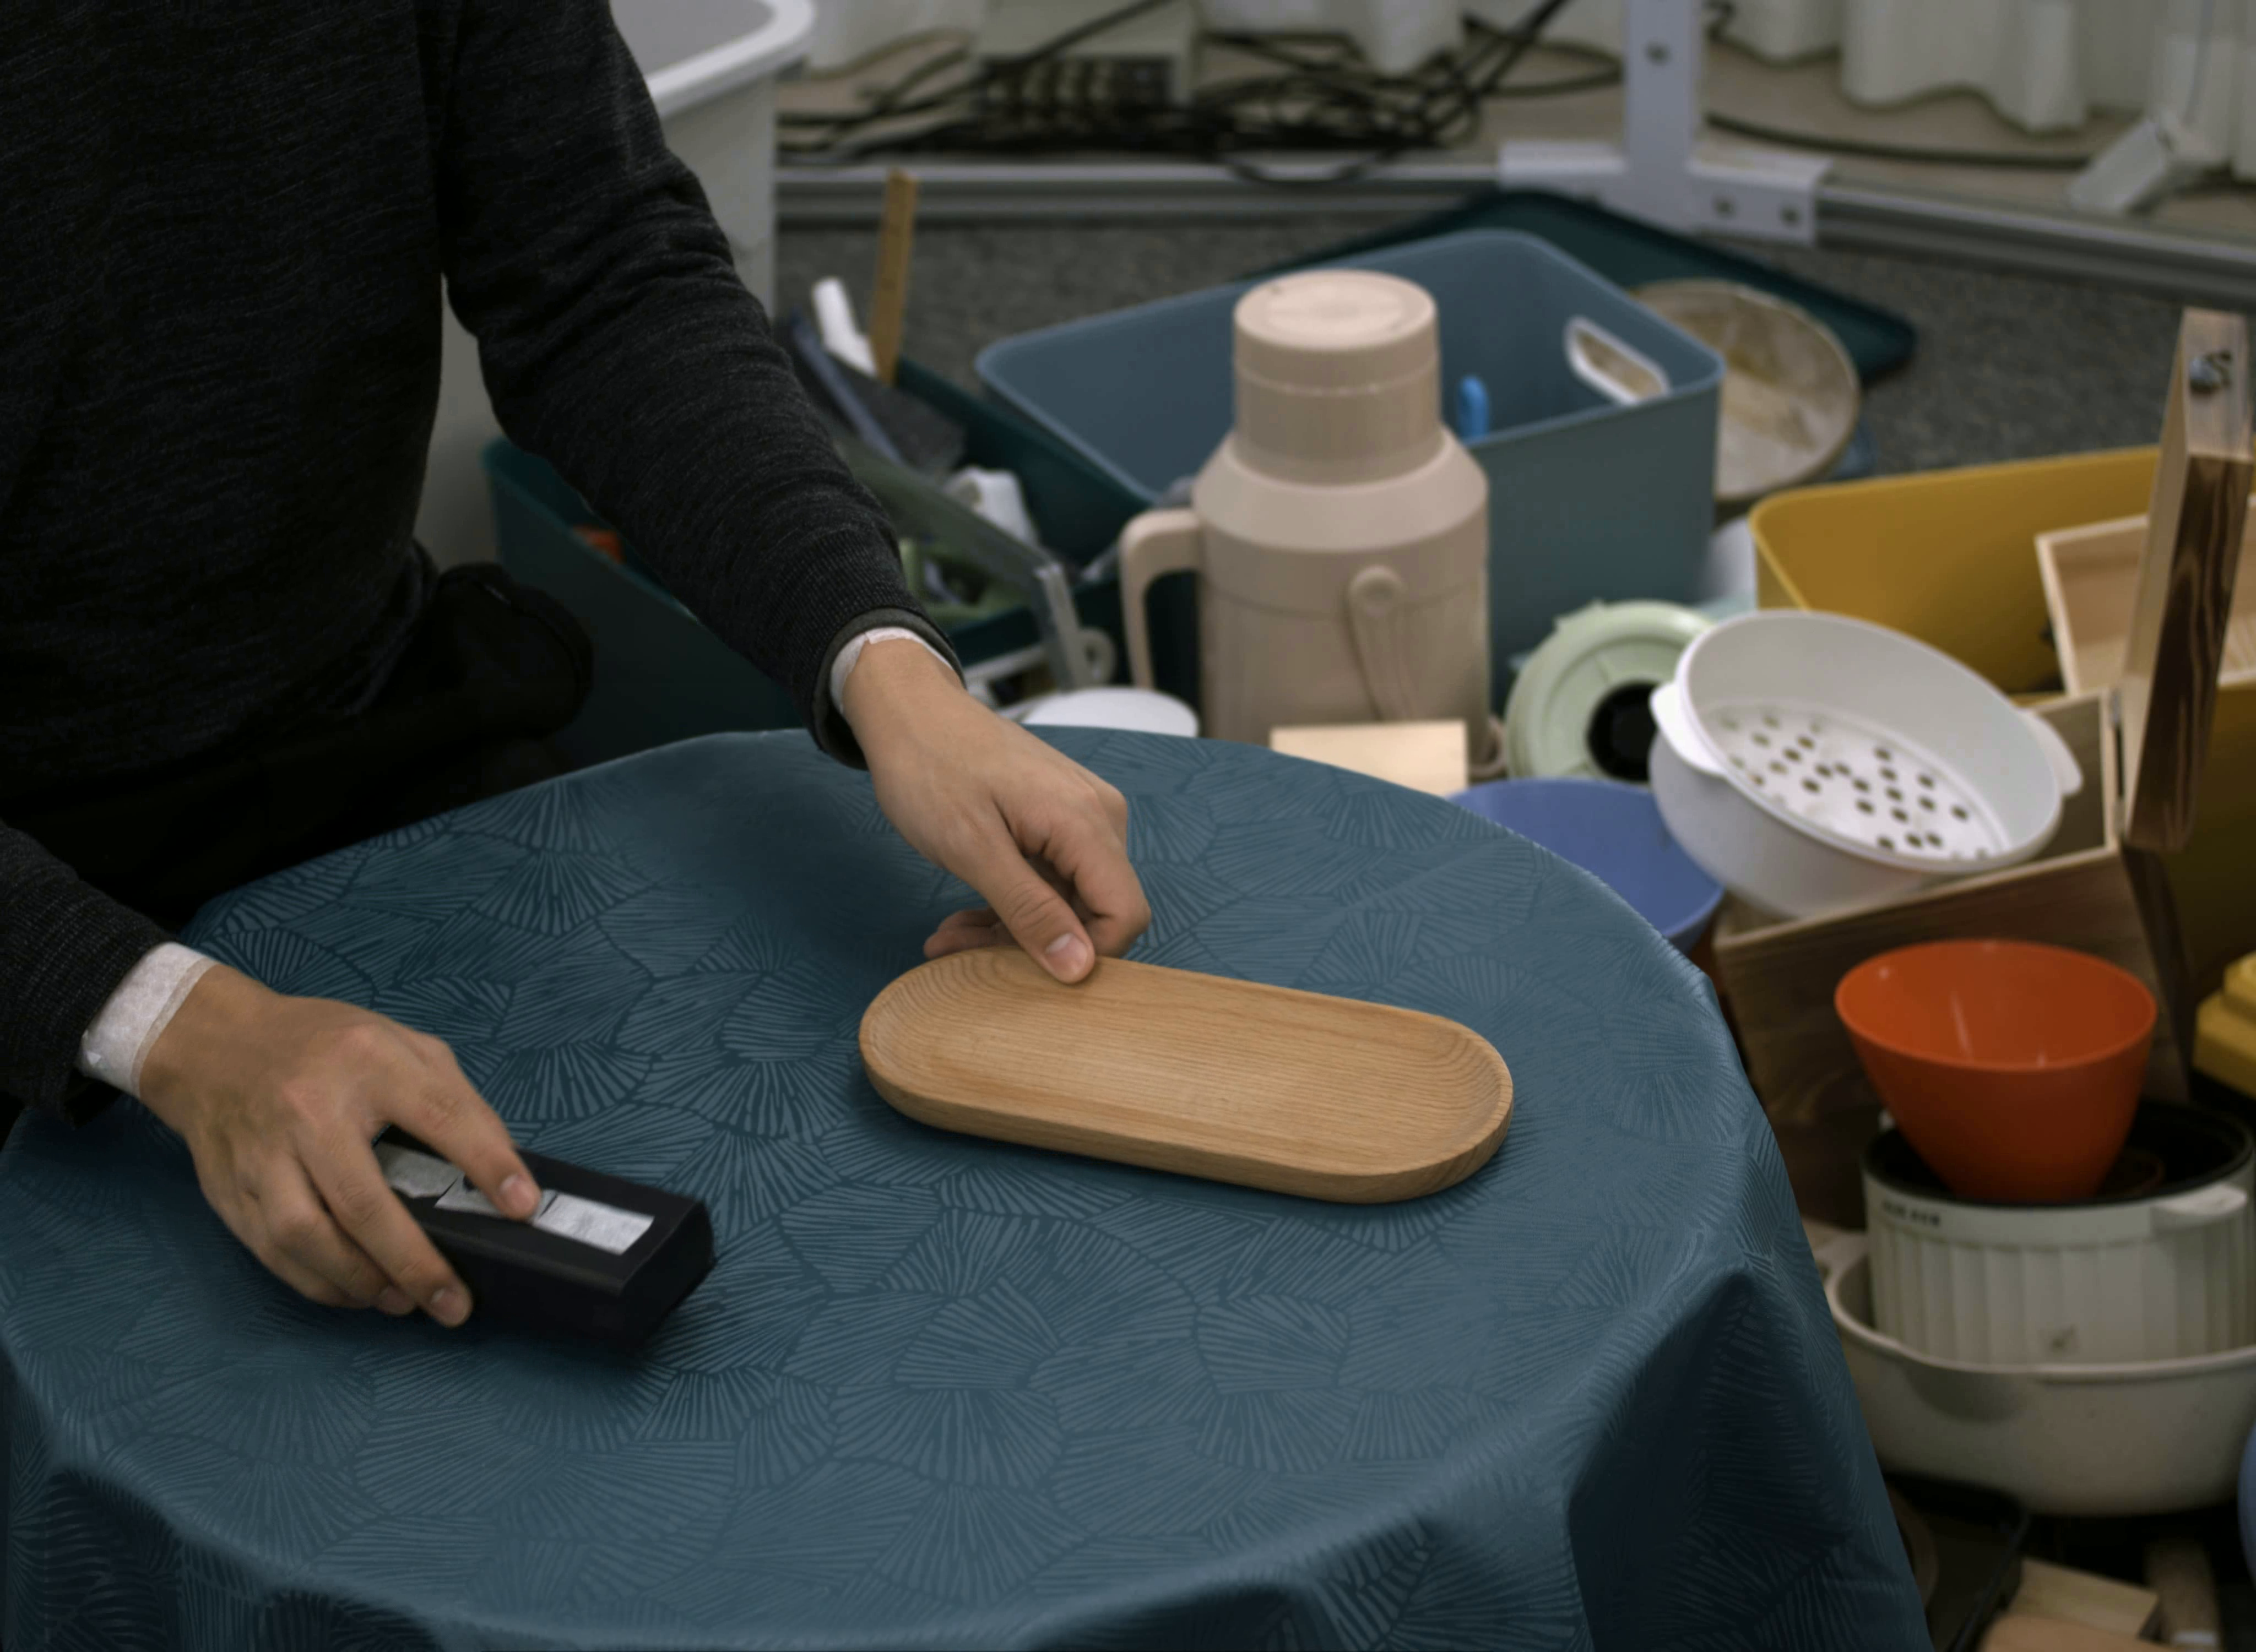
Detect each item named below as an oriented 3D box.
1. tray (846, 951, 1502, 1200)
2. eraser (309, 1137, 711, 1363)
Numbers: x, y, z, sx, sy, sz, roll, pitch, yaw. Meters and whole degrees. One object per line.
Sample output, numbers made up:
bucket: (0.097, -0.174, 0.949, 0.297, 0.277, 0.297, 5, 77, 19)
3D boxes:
tray: (0.015, 0.085, 1.907, 0.229, 0.020, 0.103, 7, 30, 19)
eraser: (-0.197, 0.135, 1.801, 0.125, 0.030, 0.054, 12, 37, 28)
